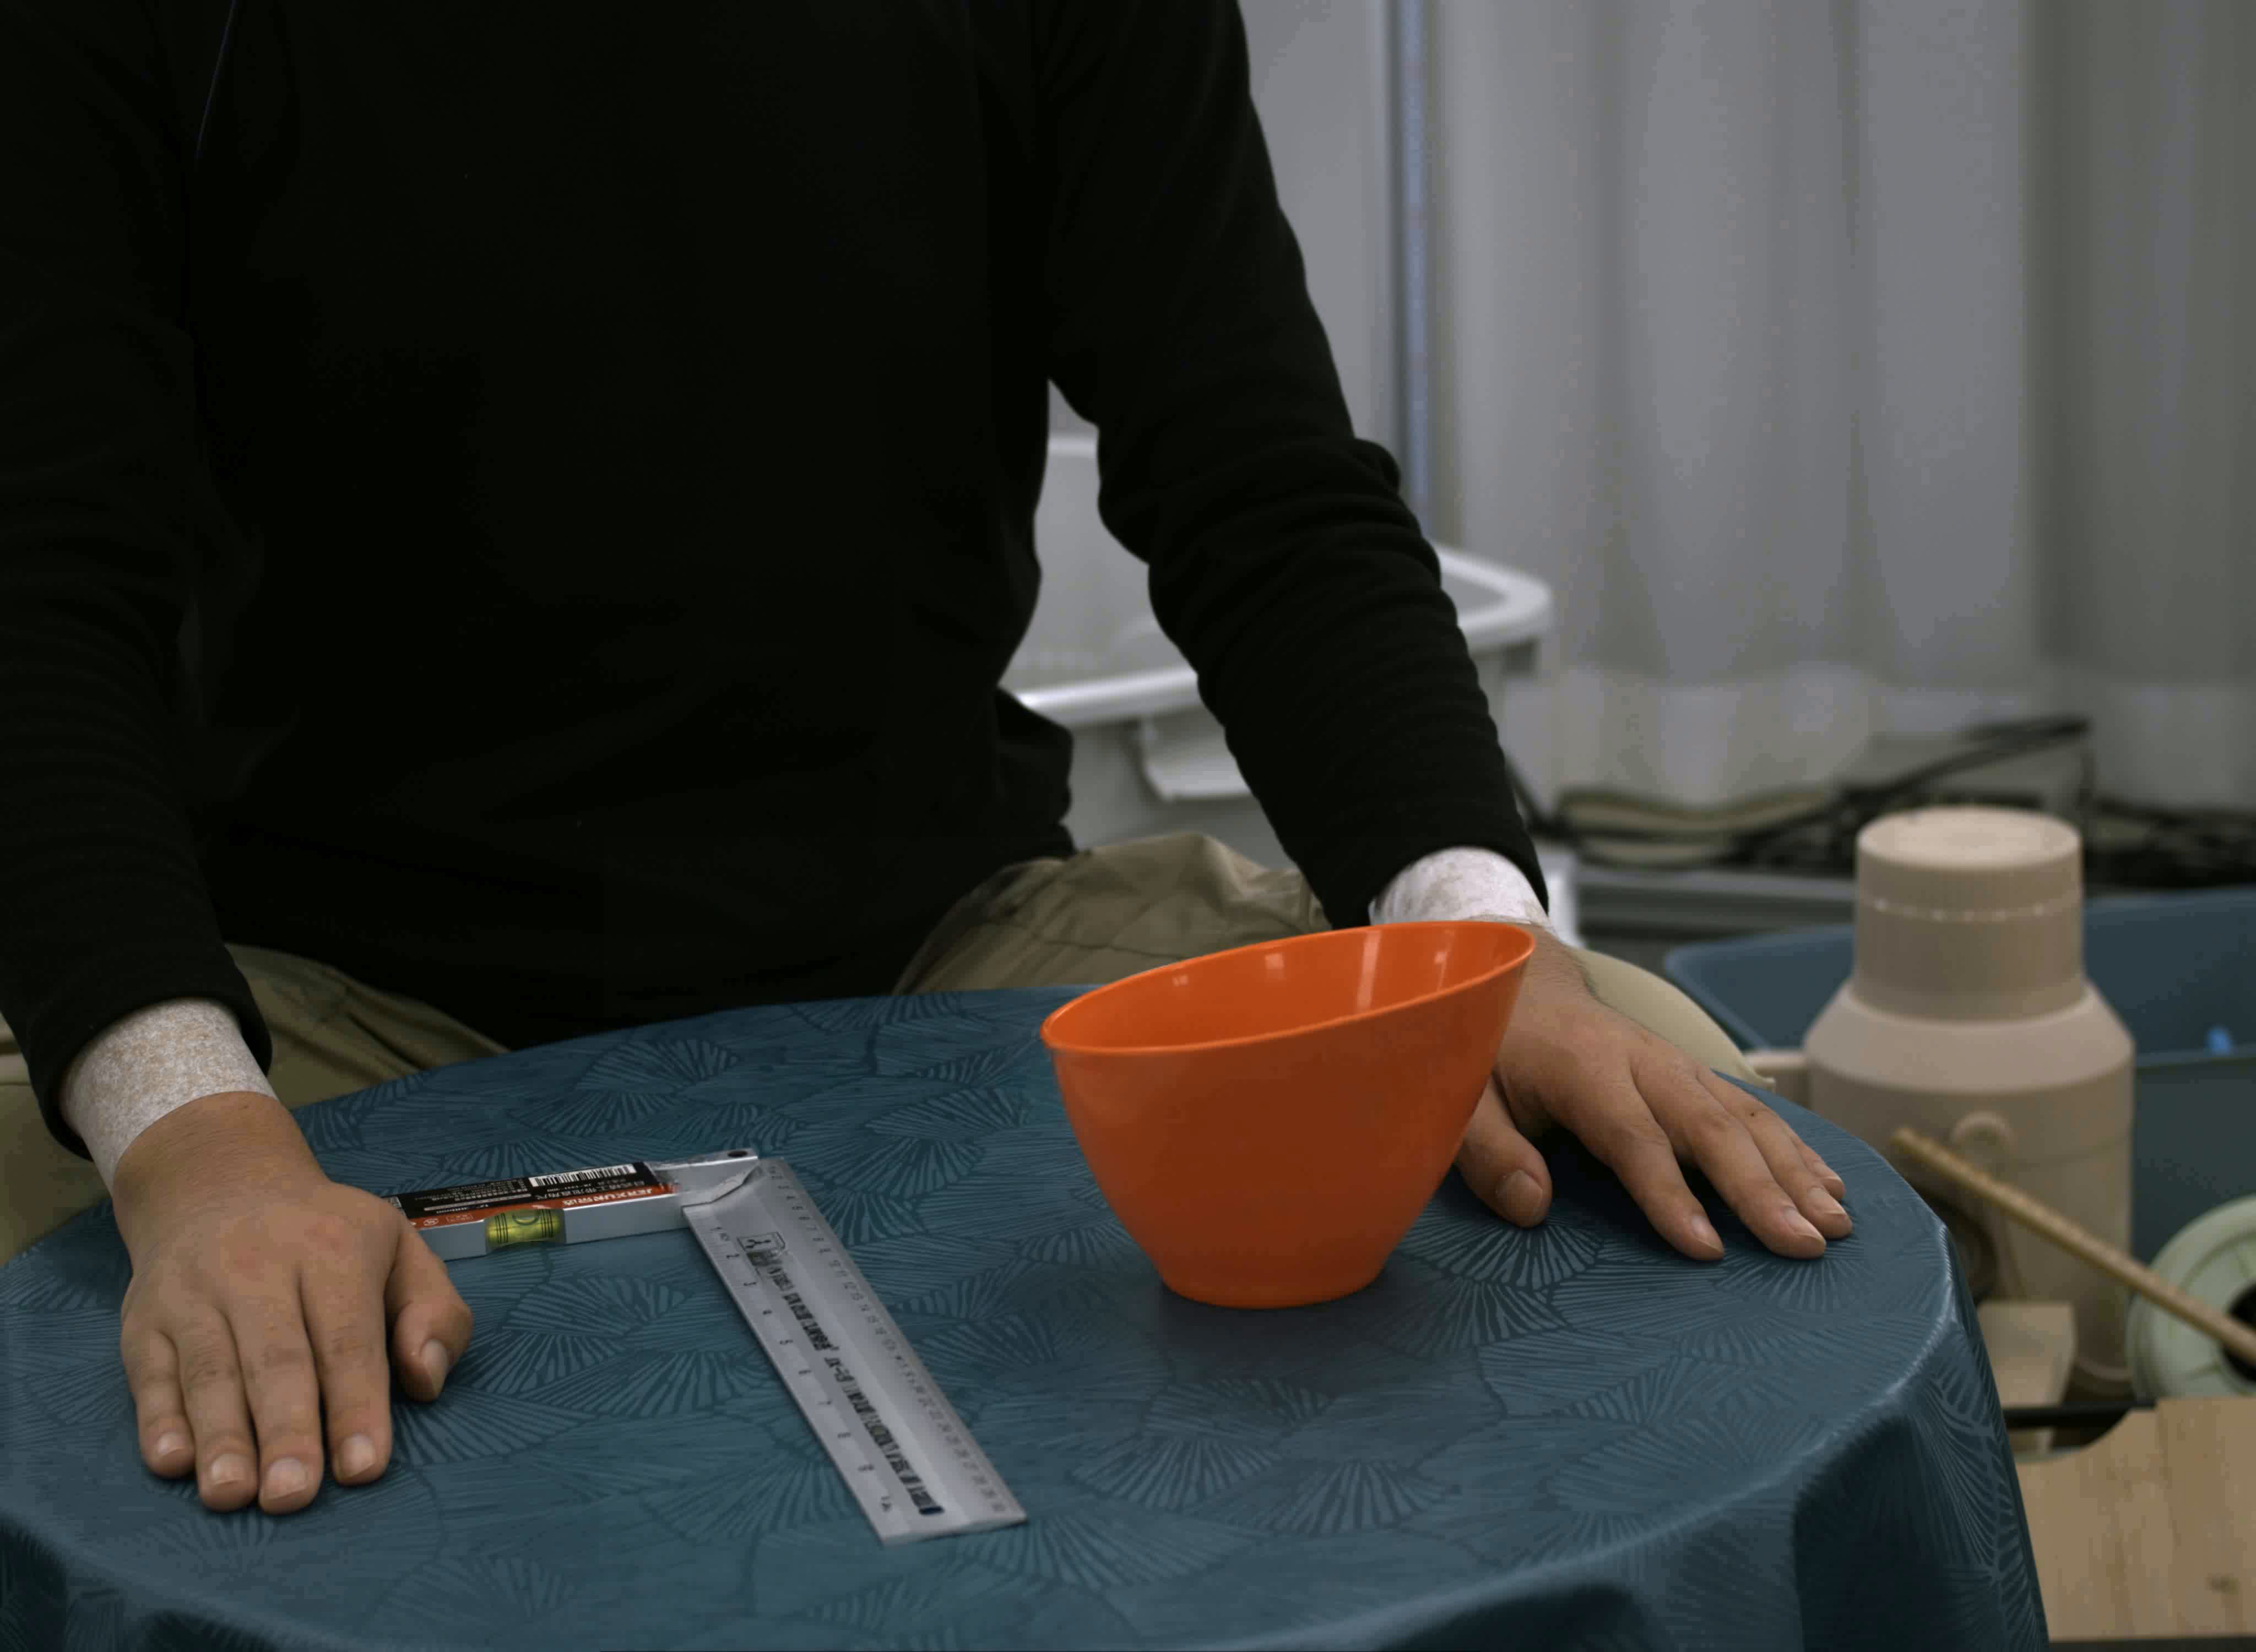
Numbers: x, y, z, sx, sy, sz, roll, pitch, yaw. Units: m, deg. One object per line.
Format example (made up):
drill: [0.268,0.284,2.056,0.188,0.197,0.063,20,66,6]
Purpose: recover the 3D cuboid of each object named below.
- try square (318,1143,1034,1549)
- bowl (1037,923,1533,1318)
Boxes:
try square: [-0.138,0.157,1.580,0.152,0.016,0.315,-11,18,-13]
bowl: [0.048,0.087,1.614,0.147,0.104,0.149,-4,15,1]
